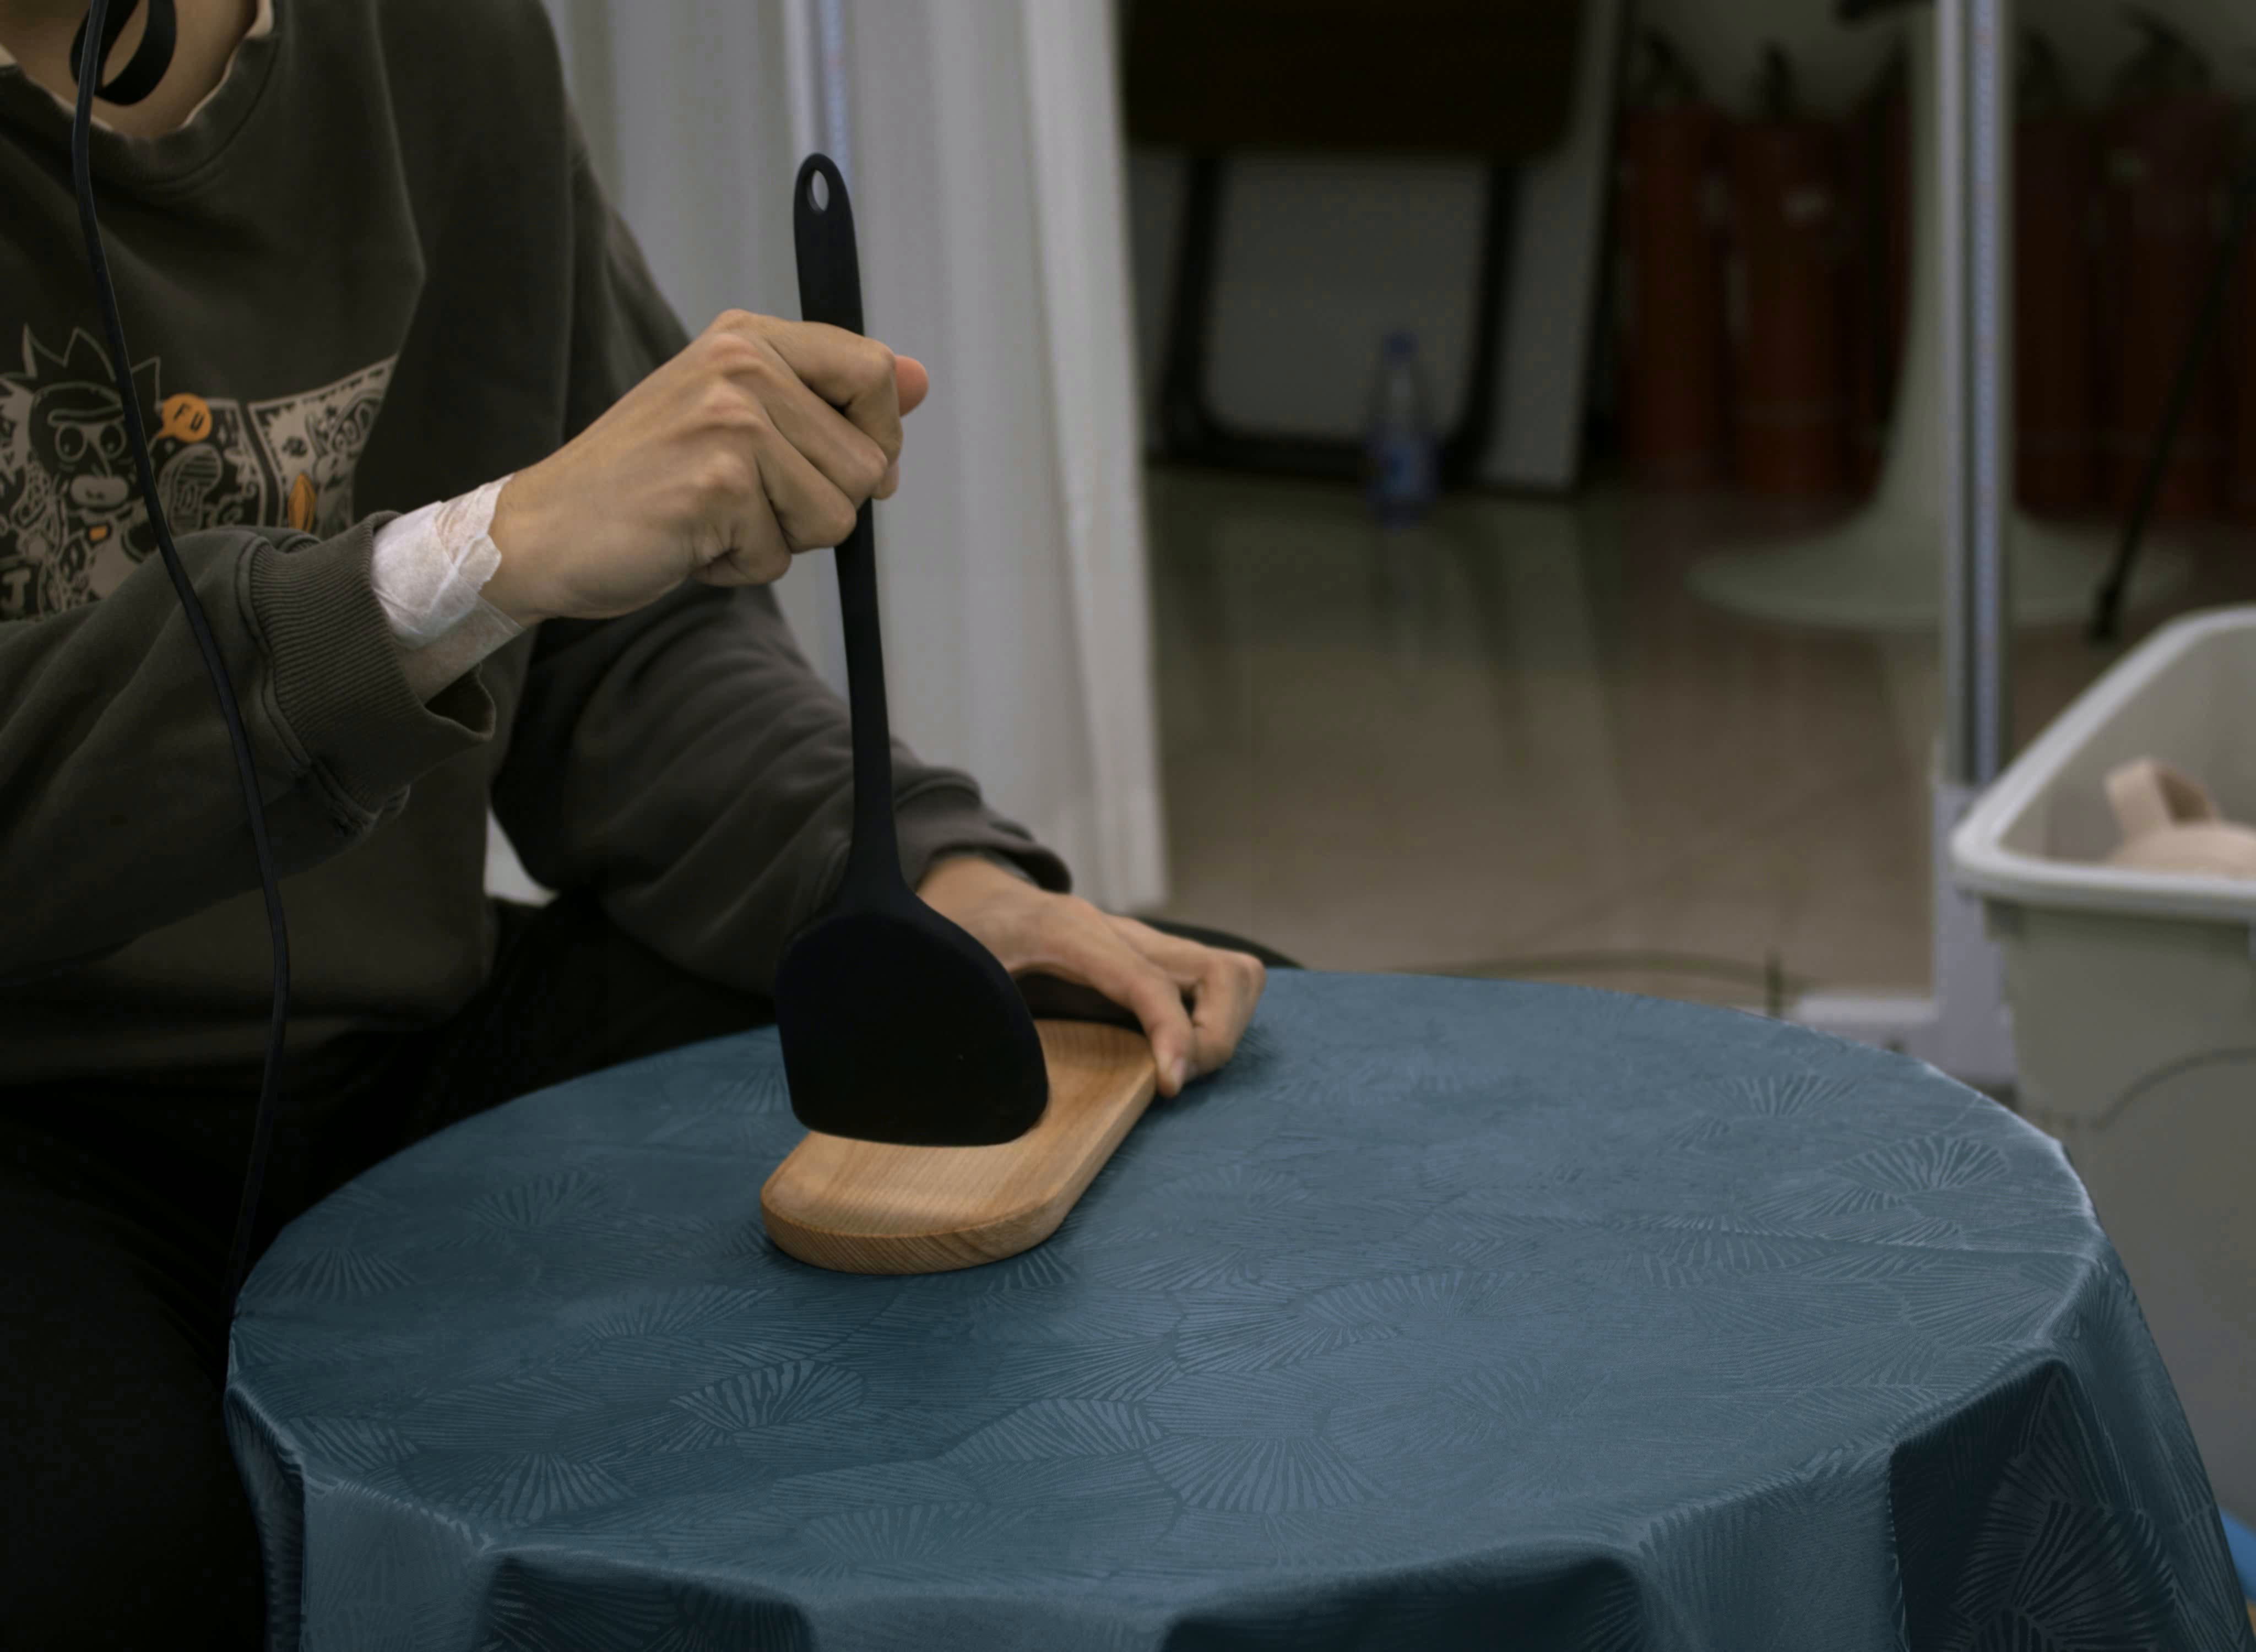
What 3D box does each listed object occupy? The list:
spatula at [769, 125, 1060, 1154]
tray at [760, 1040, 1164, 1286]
[{"bbox_3d":[-0.082,-0.054,1.703,0.100,0.330,0.040,-1,8,24],"label":"spatula"},{"bbox_3d":[-0.053,0.111,1.805,0.101,0.020,0.229,0,15,15],"label":"tray"}]
